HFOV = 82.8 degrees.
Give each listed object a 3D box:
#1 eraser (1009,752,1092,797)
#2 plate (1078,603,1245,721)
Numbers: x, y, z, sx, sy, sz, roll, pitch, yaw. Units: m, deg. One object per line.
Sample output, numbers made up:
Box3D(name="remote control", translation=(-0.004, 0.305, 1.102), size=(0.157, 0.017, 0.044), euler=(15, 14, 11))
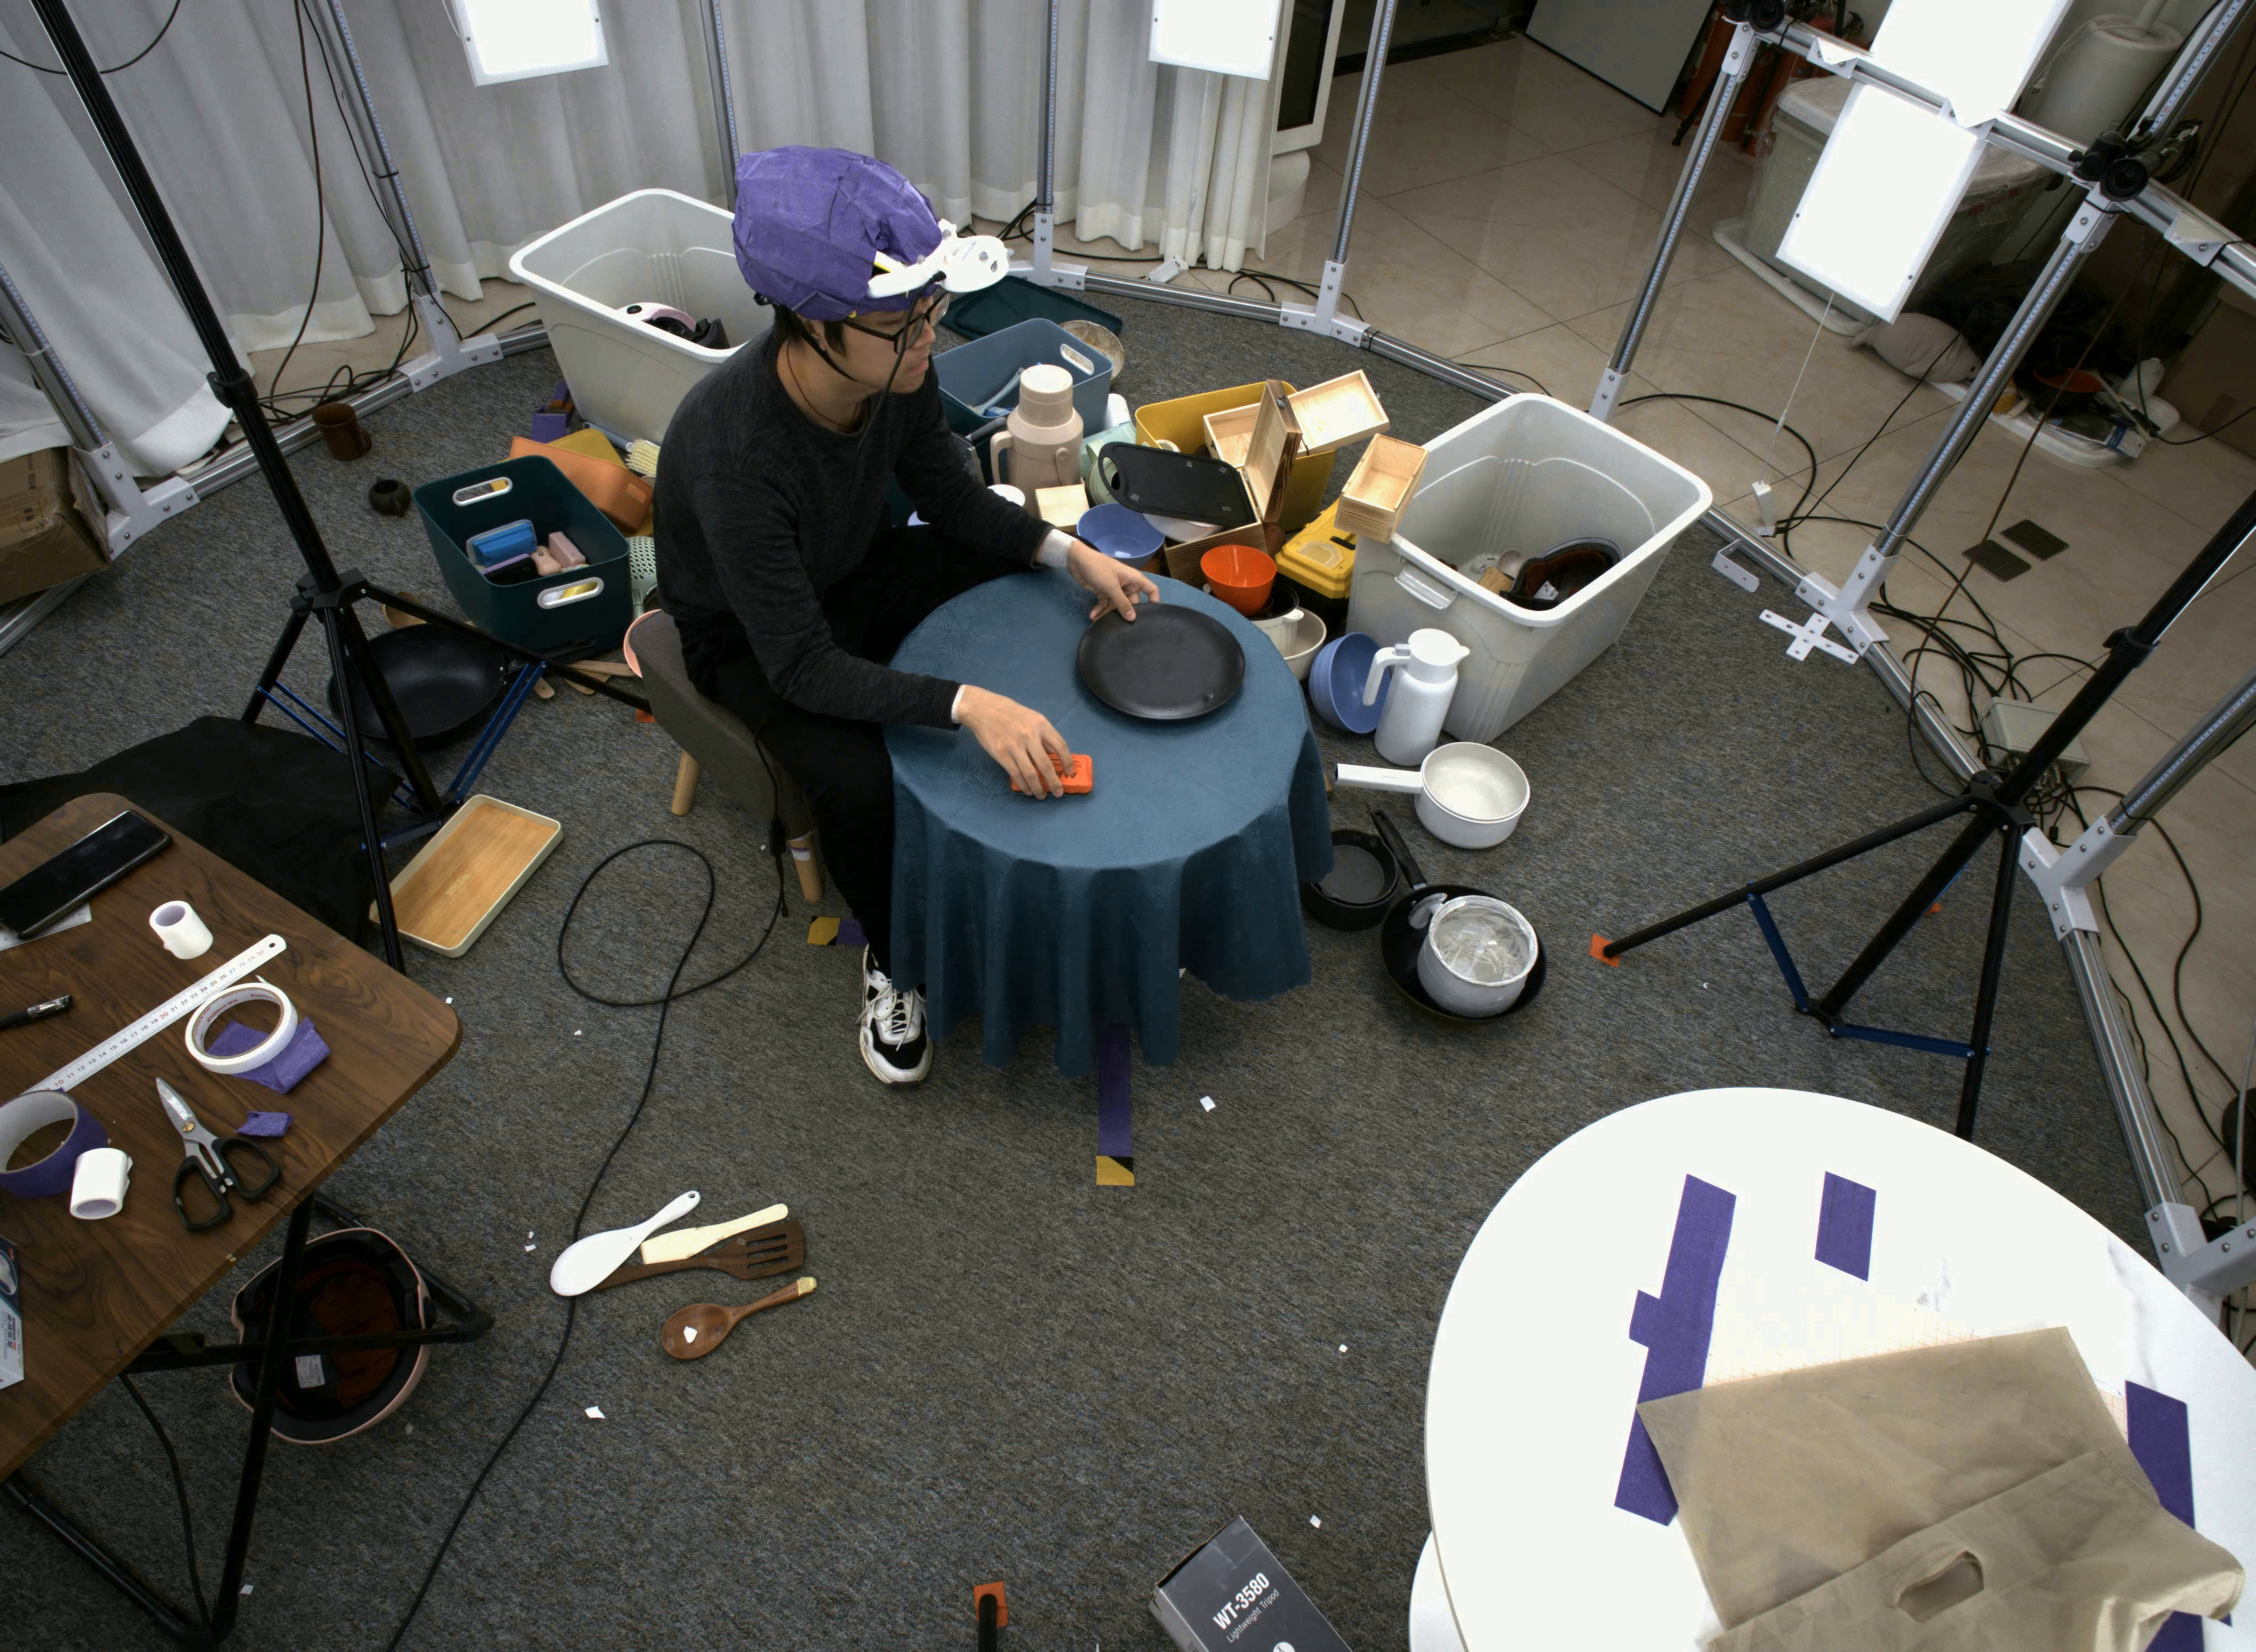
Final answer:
Box3D(name="eraser", translation=(-0.103, -0.069, 1.707), size=(0.108, 0.022, 0.060), euler=(4, 47, -1))
Box3D(name="plate", translation=(0.049, -0.236, 1.863), size=(0.244, 0.023, 0.250), euler=(2, 49, -2))
